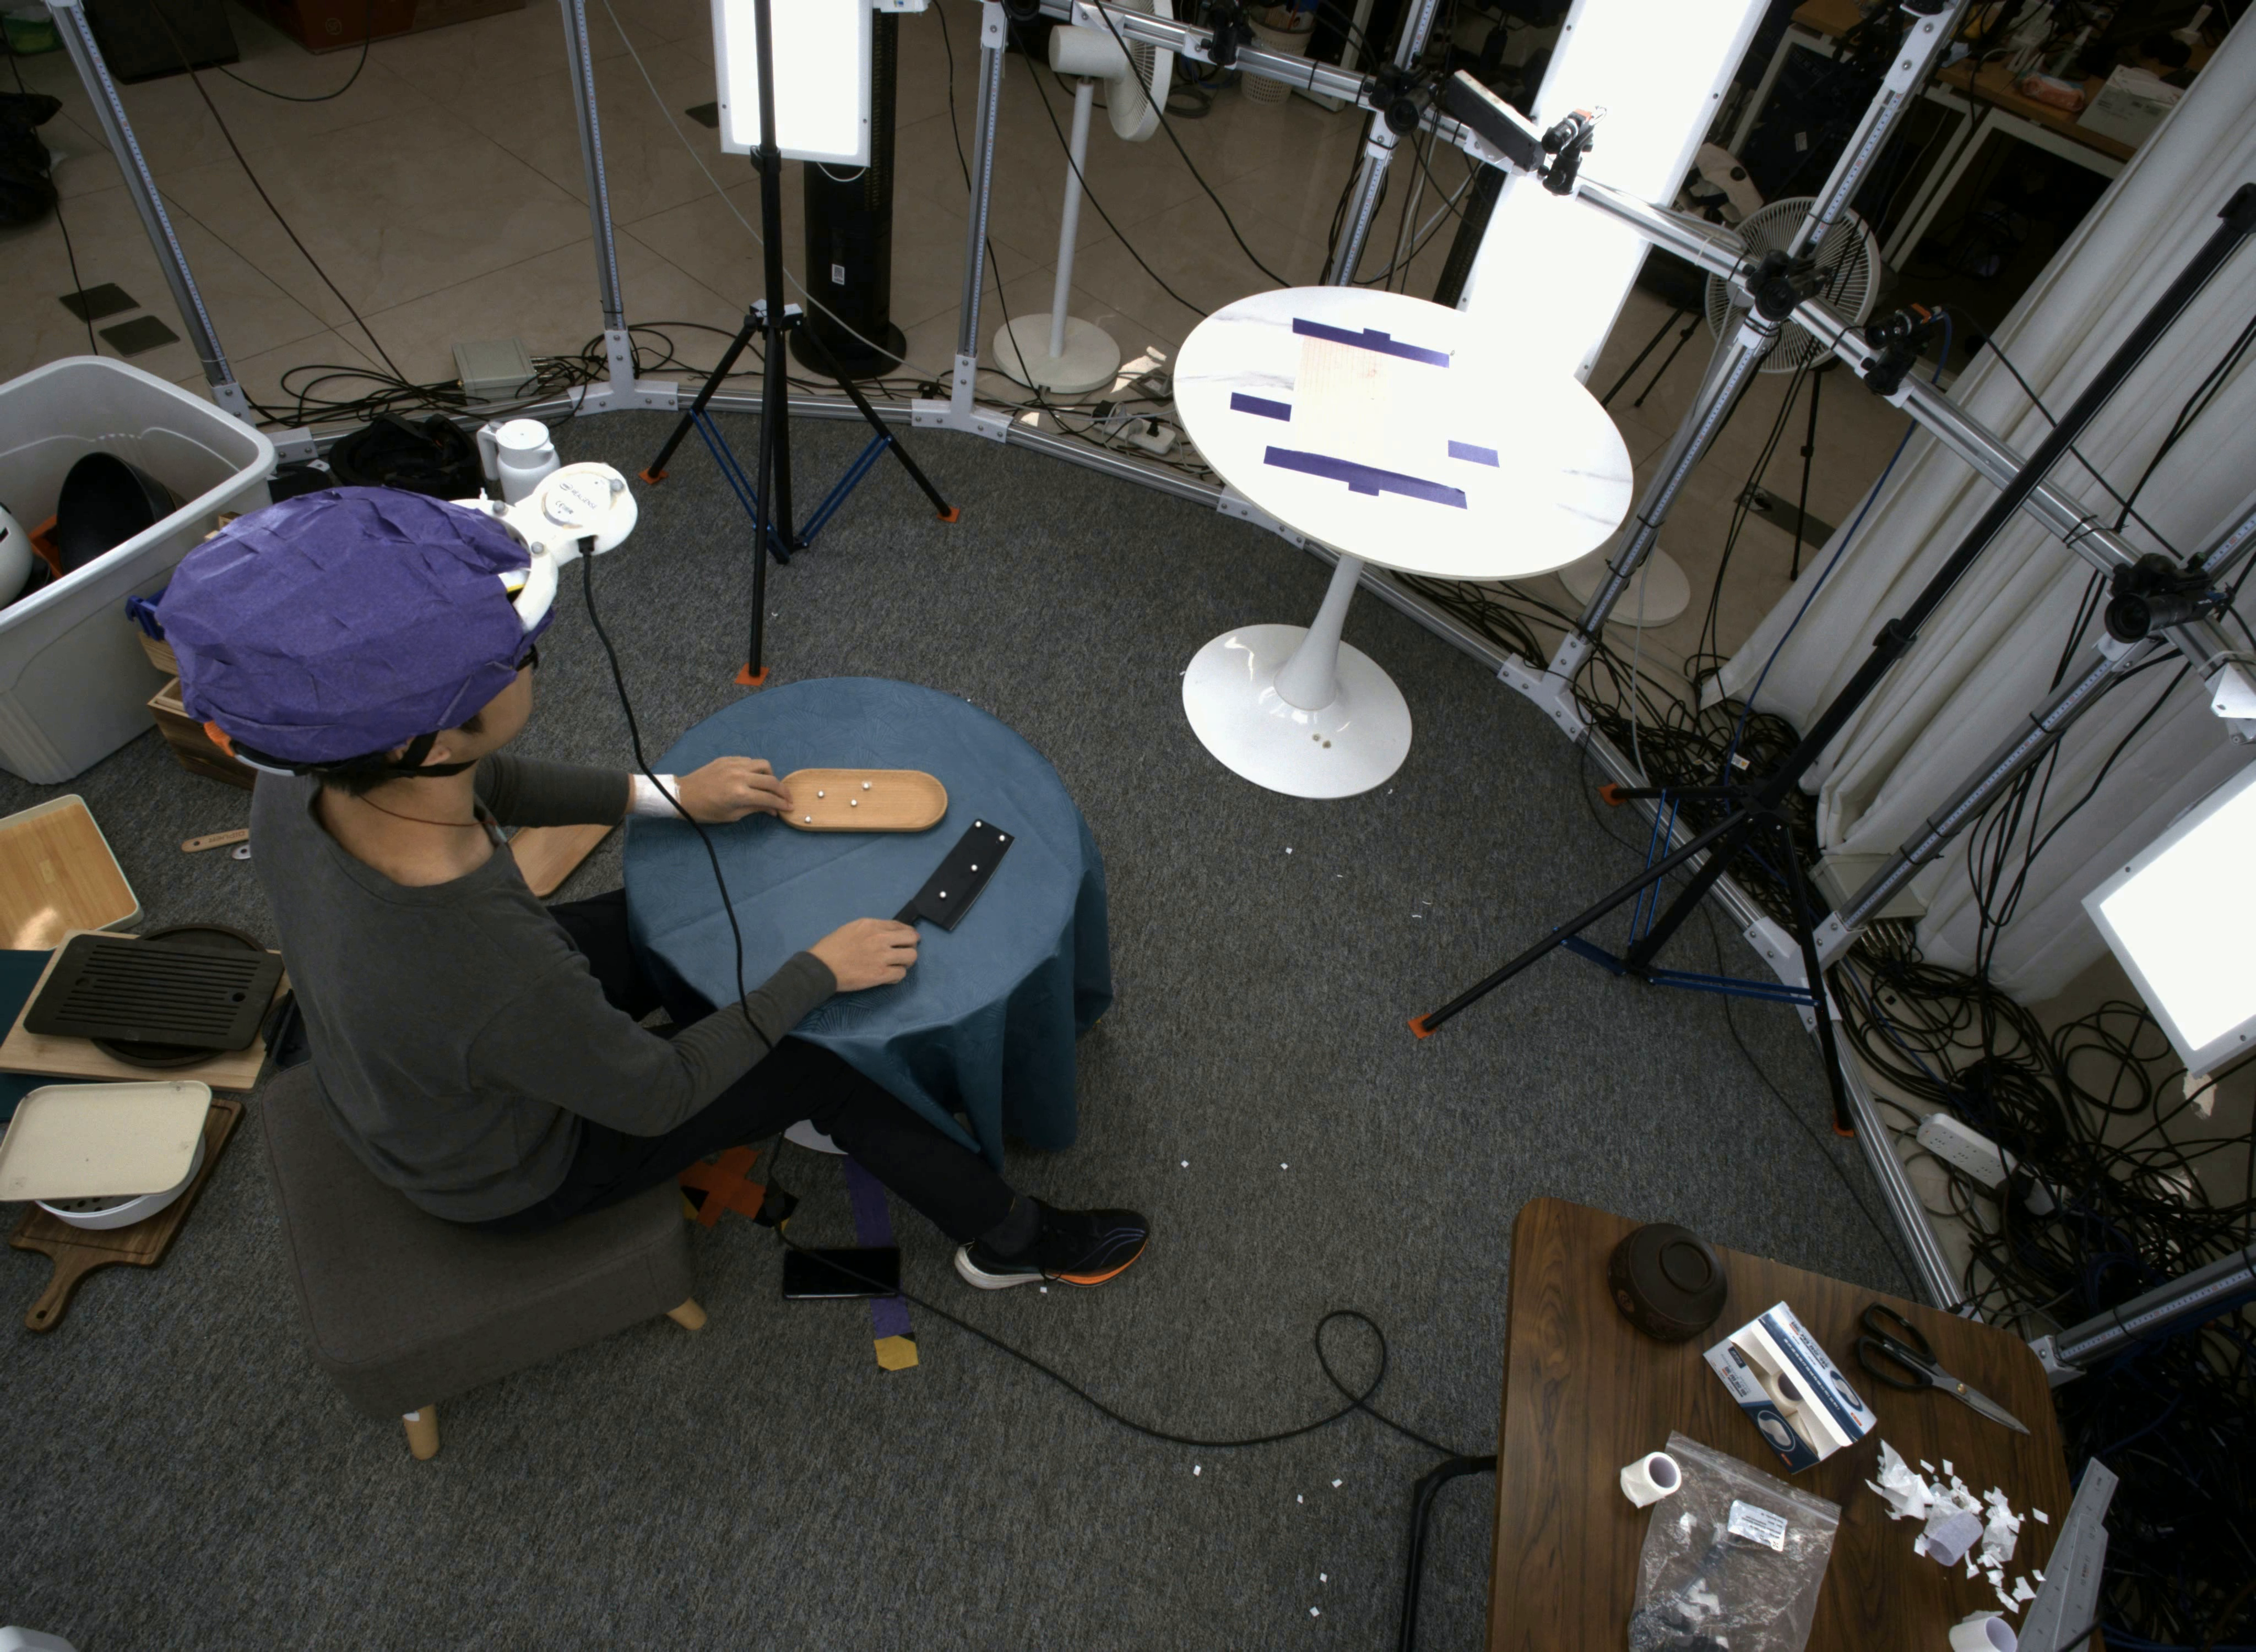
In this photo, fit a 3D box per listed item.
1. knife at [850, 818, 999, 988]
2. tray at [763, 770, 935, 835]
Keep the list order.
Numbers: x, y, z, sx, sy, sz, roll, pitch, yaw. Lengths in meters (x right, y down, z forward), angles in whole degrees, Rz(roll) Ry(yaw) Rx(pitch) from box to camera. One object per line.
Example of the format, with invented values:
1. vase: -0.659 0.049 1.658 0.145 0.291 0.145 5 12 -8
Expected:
1. knife: -0.265 0.097 1.696 0.079 0.021 0.301 30 51 9
2. tray: -0.377 -0.033 1.762 0.232 0.020 0.099 0 56 -16
